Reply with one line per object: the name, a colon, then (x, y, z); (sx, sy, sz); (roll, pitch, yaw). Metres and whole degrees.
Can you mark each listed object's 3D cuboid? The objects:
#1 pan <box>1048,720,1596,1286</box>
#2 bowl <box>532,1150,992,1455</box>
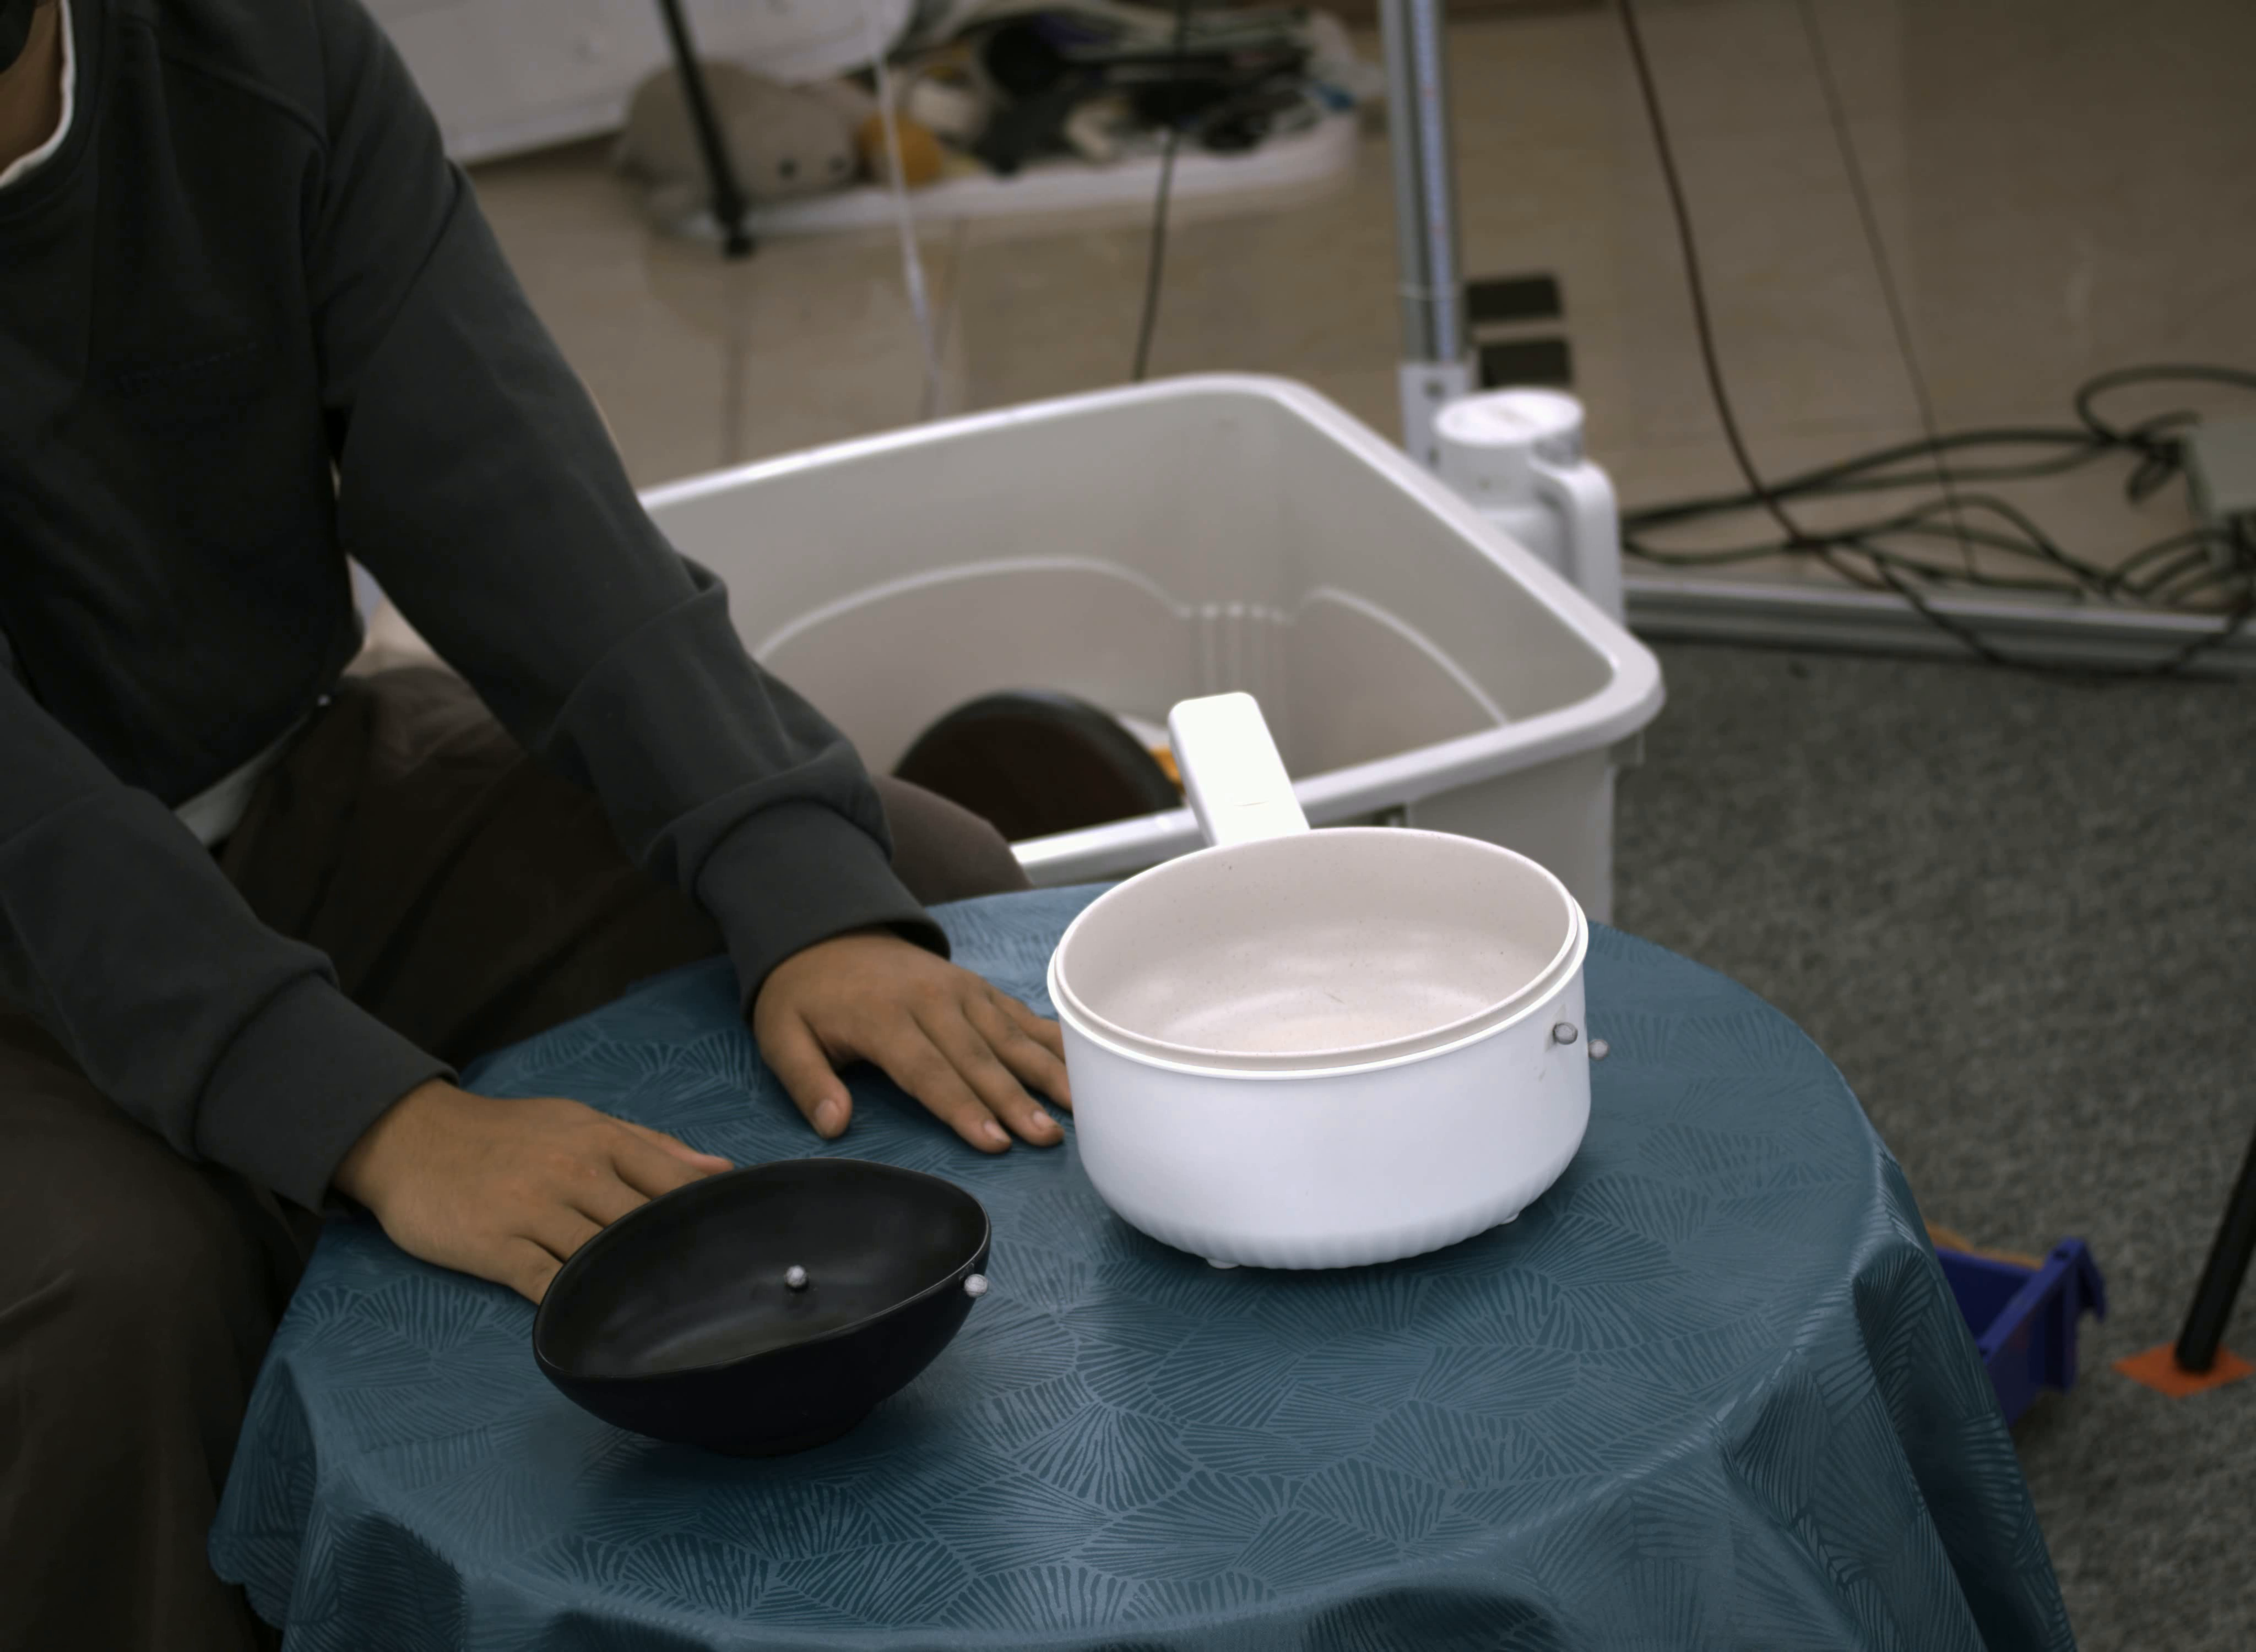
pan: (0.065, 0.065, 2.193); (0.201, 0.103, 0.350); (-12, 23, -4)
bowl: (-0.125, 0.179, 2.013); (0.169, 0.068, 0.136); (-19, 27, -21)
